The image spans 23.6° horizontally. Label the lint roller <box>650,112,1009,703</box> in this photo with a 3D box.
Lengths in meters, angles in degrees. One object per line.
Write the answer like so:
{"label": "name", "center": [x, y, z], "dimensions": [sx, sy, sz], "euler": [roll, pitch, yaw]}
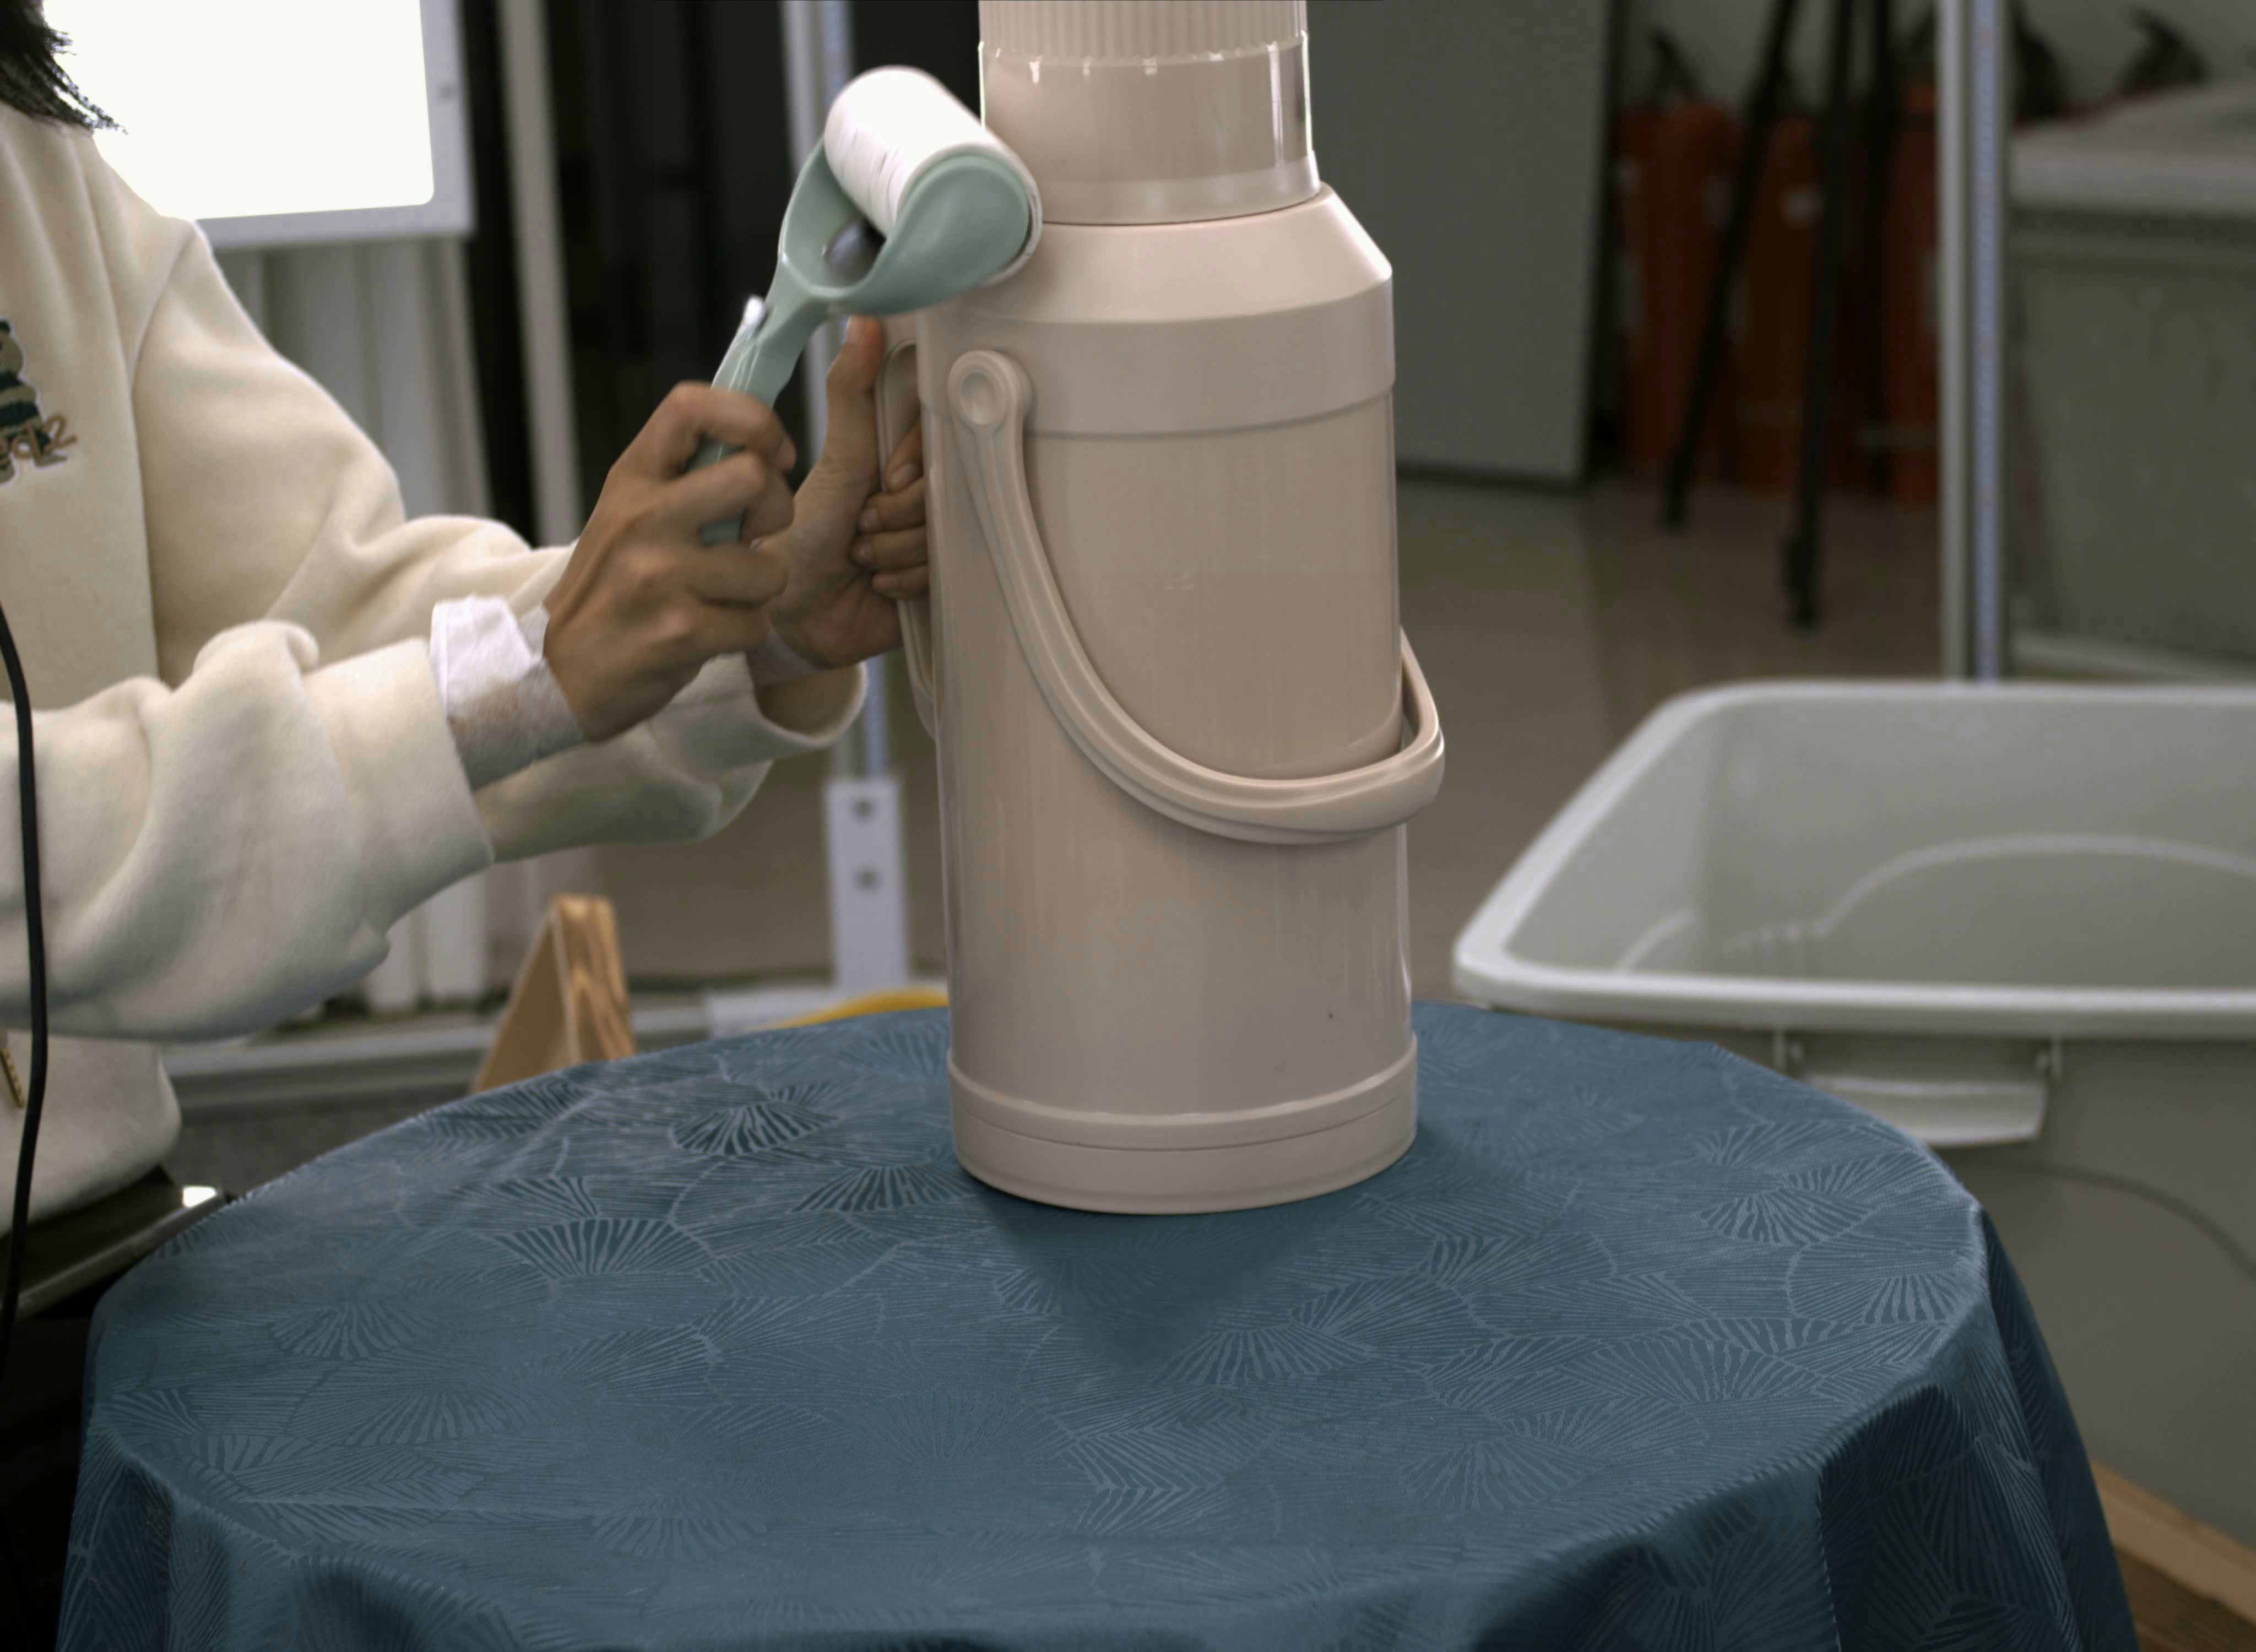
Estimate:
{"label": "lint roller", "center": [-0.113, -0.135, 1.704], "dimensions": [0.048, 0.199, 0.118], "euler": [31, -7, -29]}

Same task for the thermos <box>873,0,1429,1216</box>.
{"label": "thermos", "center": [0.002, -0.089, 1.775], "dimensions": [0.209, 0.411, 0.172], "euler": [10, 19, 40]}
